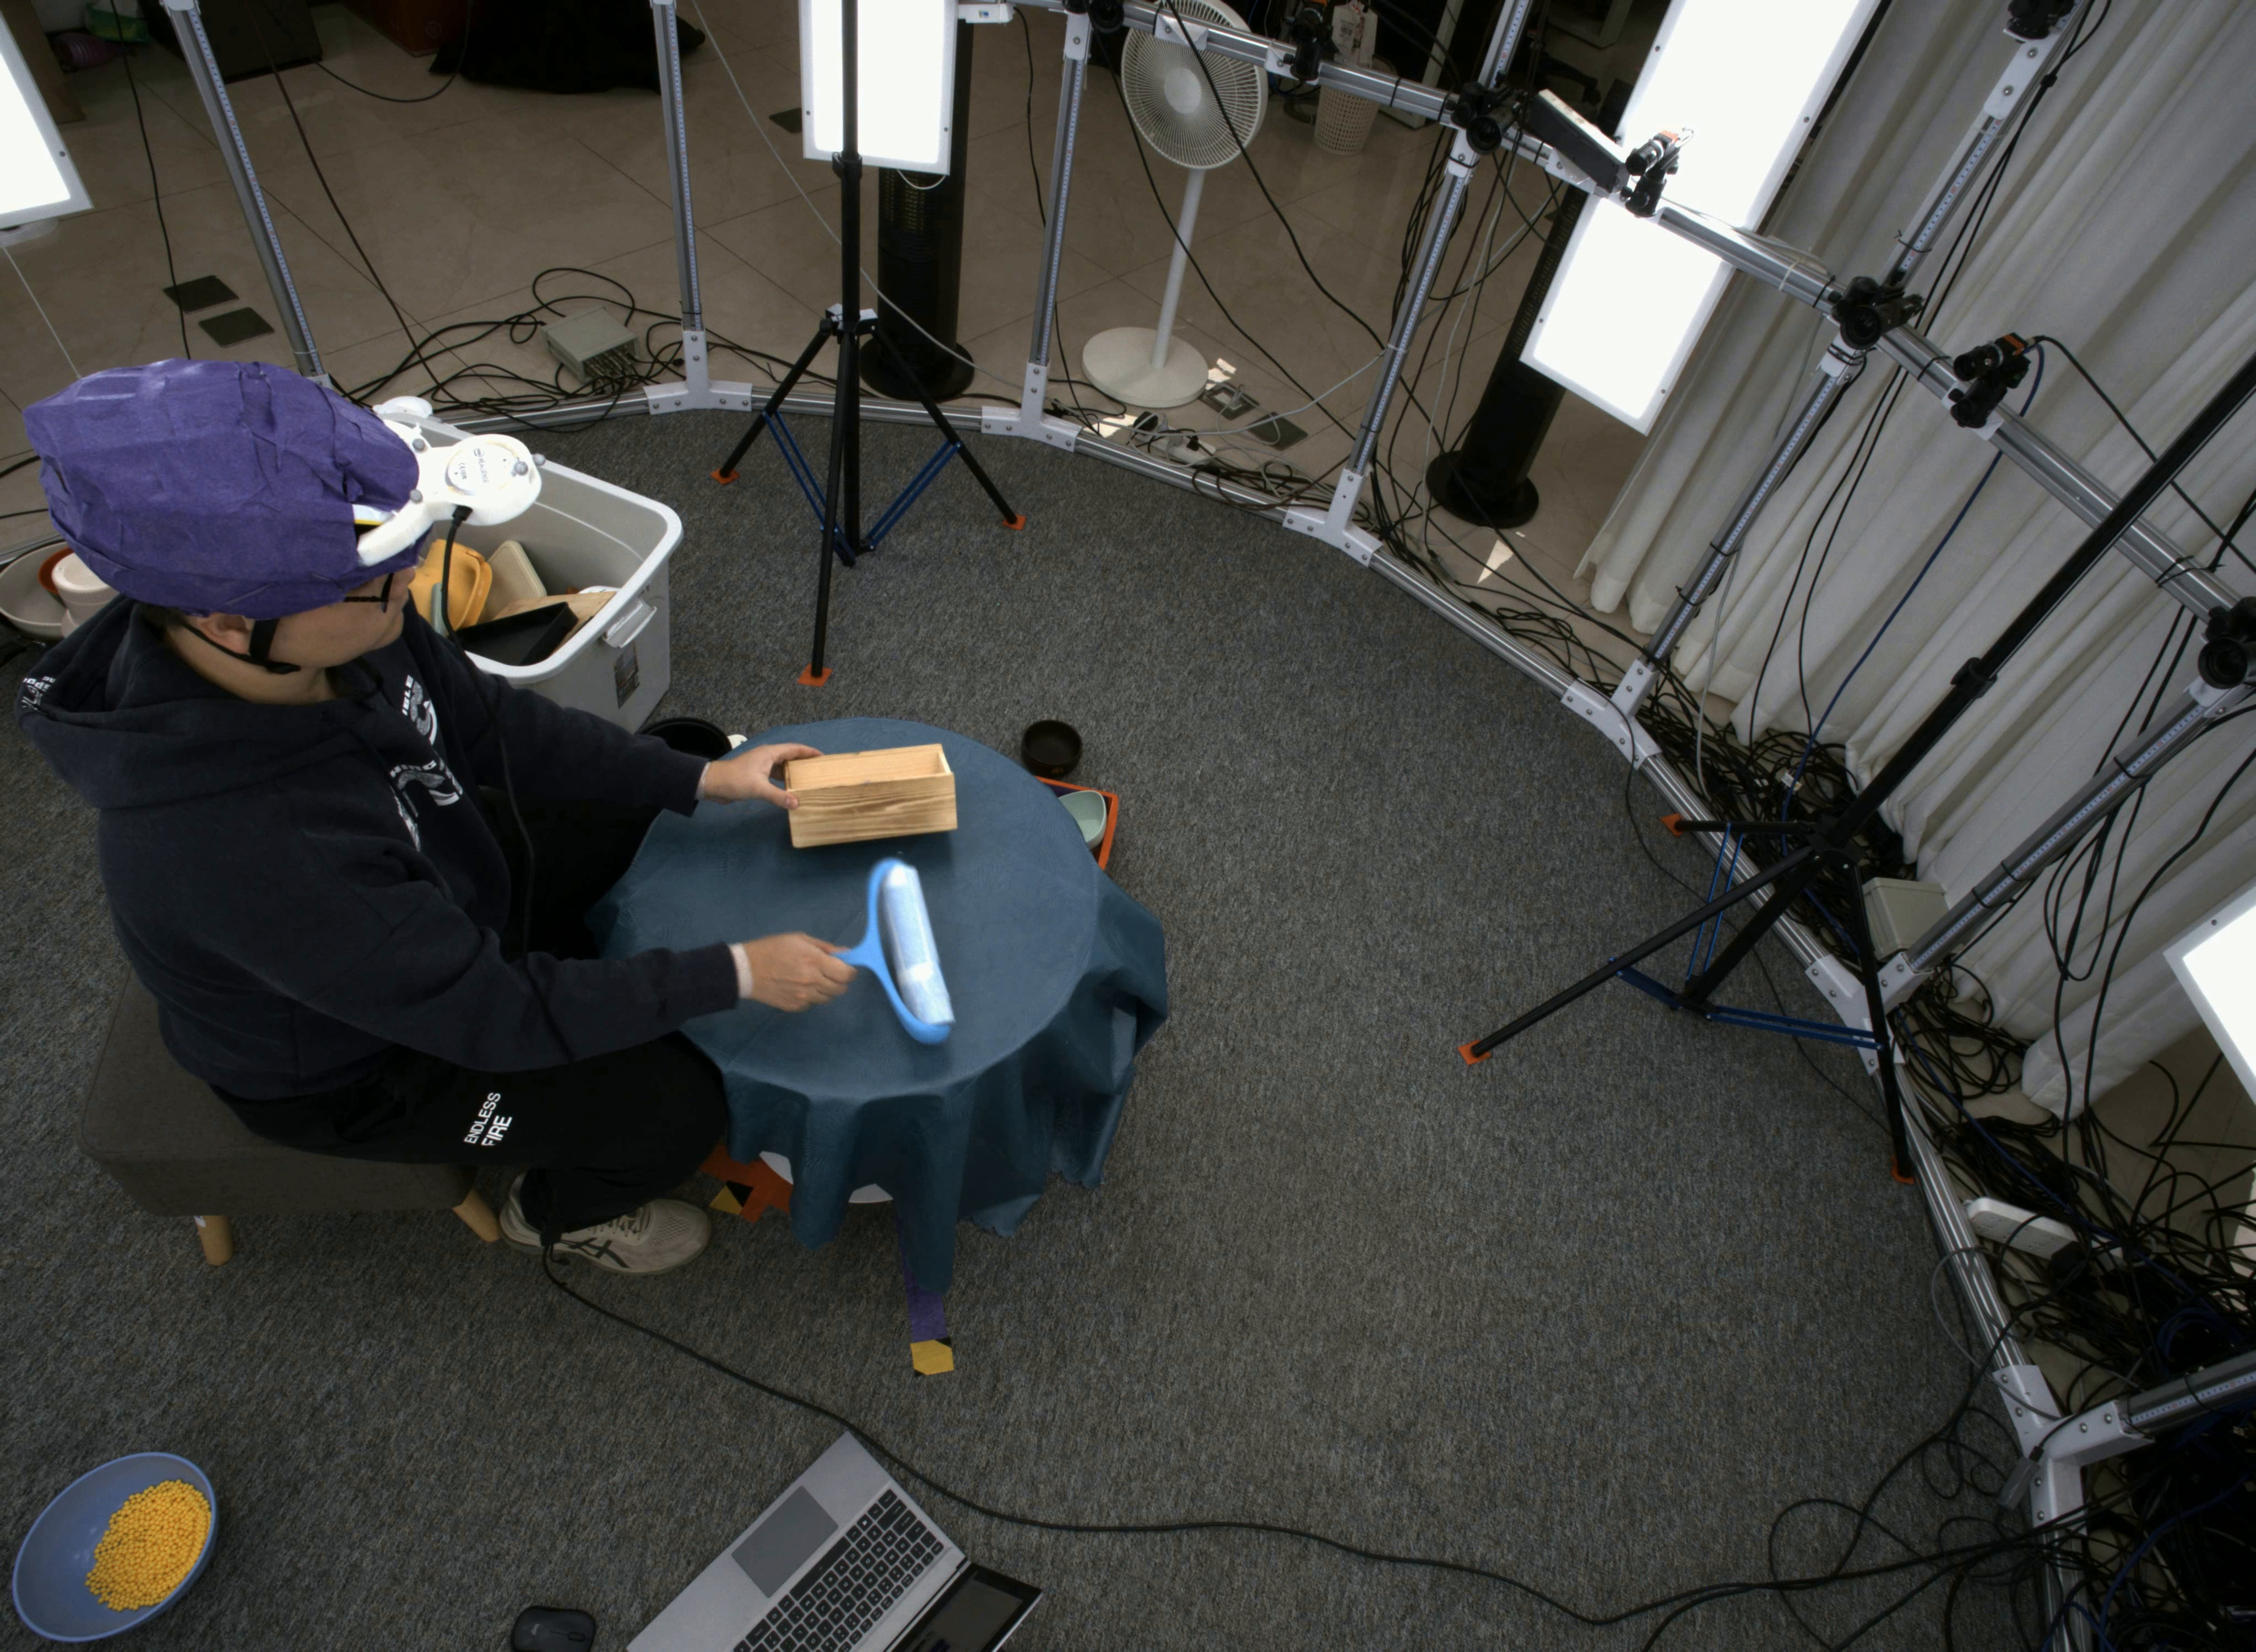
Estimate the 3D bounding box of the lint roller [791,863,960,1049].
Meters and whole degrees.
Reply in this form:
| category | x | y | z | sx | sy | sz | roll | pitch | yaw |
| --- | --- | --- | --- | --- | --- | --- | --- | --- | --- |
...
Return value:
| category | x | y | z | sx | sy | sz | roll | pitch | yaw |
| --- | --- | --- | --- | --- | --- | --- | --- | --- | --- |
| lint roller | -0.302 | 0.161 | 1.528 | 0.182 | 0.067 | 0.228 | -11 | 78 | -29 |

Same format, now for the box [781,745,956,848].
| category | x | y | z | sx | sy | sz | roll | pitch | yaw |
| --- | --- | --- | --- | --- | --- | --- | --- | --- | --- |
| box | -0.337 | -0.041 | 1.689 | 0.212 | 0.082 | 0.104 | -7 | 28 | -18 |
